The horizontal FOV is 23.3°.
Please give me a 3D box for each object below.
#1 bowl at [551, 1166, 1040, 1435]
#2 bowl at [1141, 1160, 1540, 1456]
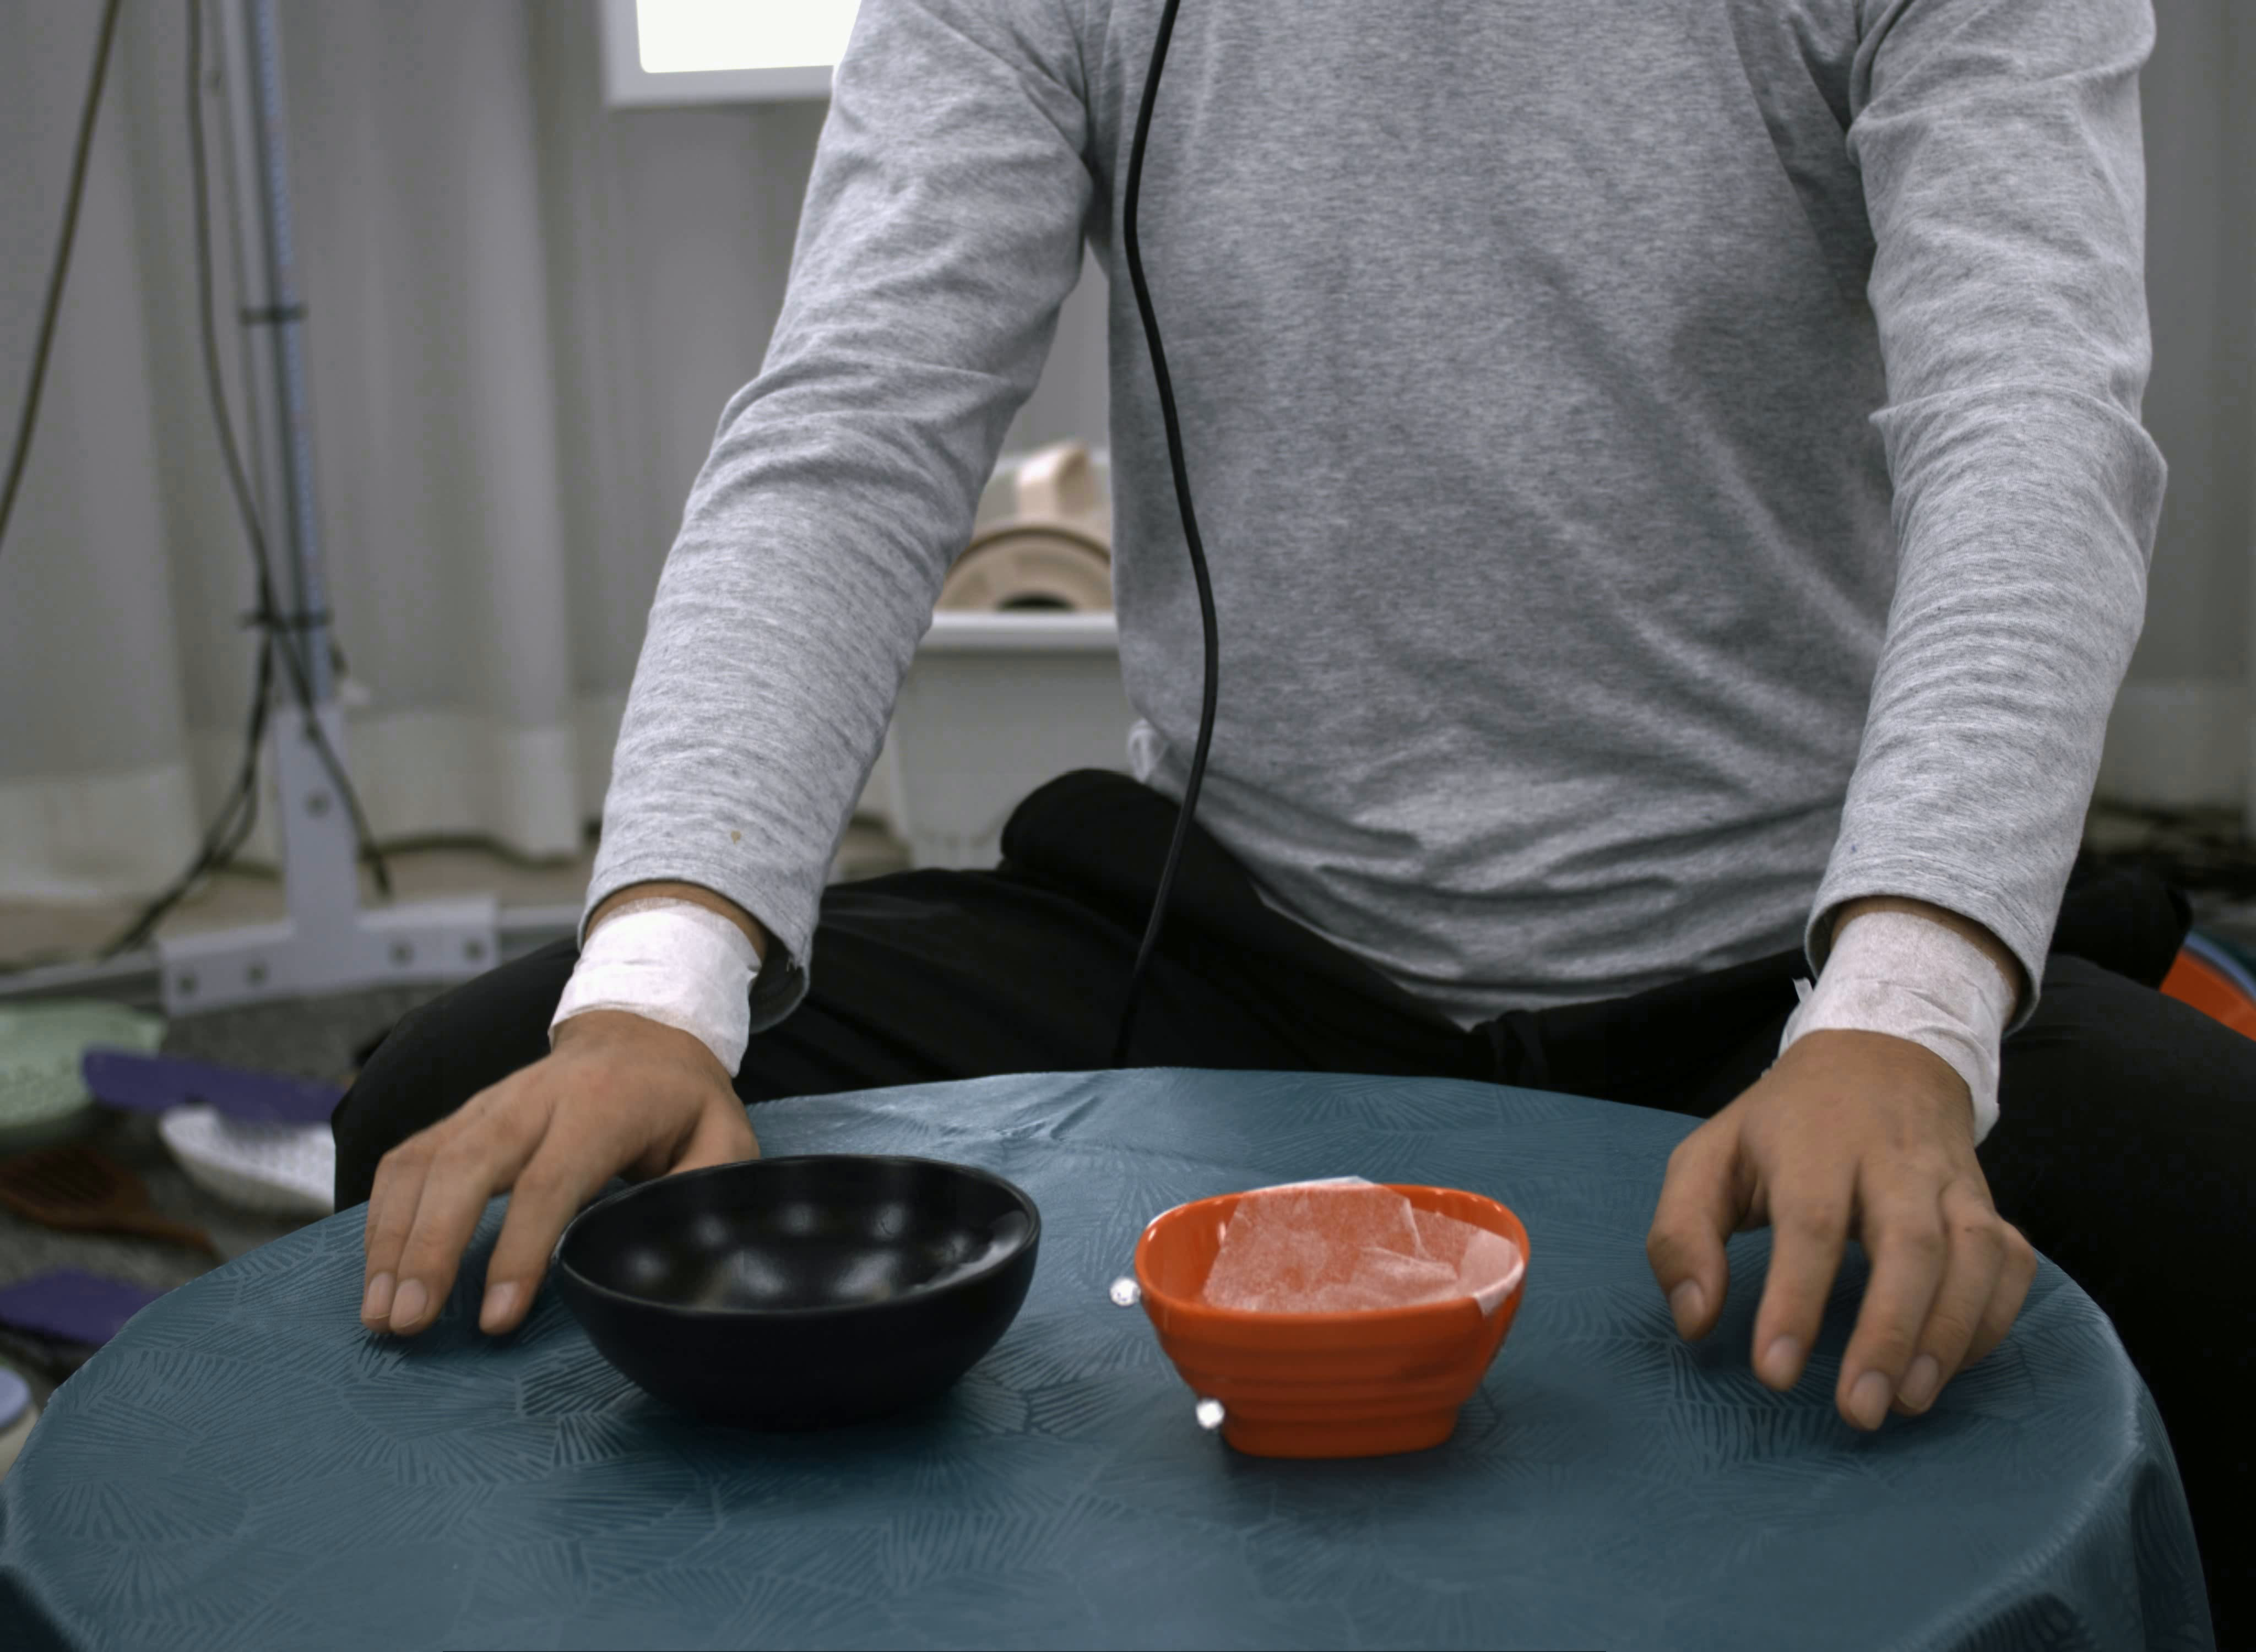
[{"bbox_3d":[-0.093,0.139,1.555,0.139,0.049,0.141,-2,12,0],"label":"bowl"},{"bbox_3d":[0.060,0.137,1.511,0.118,0.051,0.120,-4,19,1],"label":"bowl"}]
